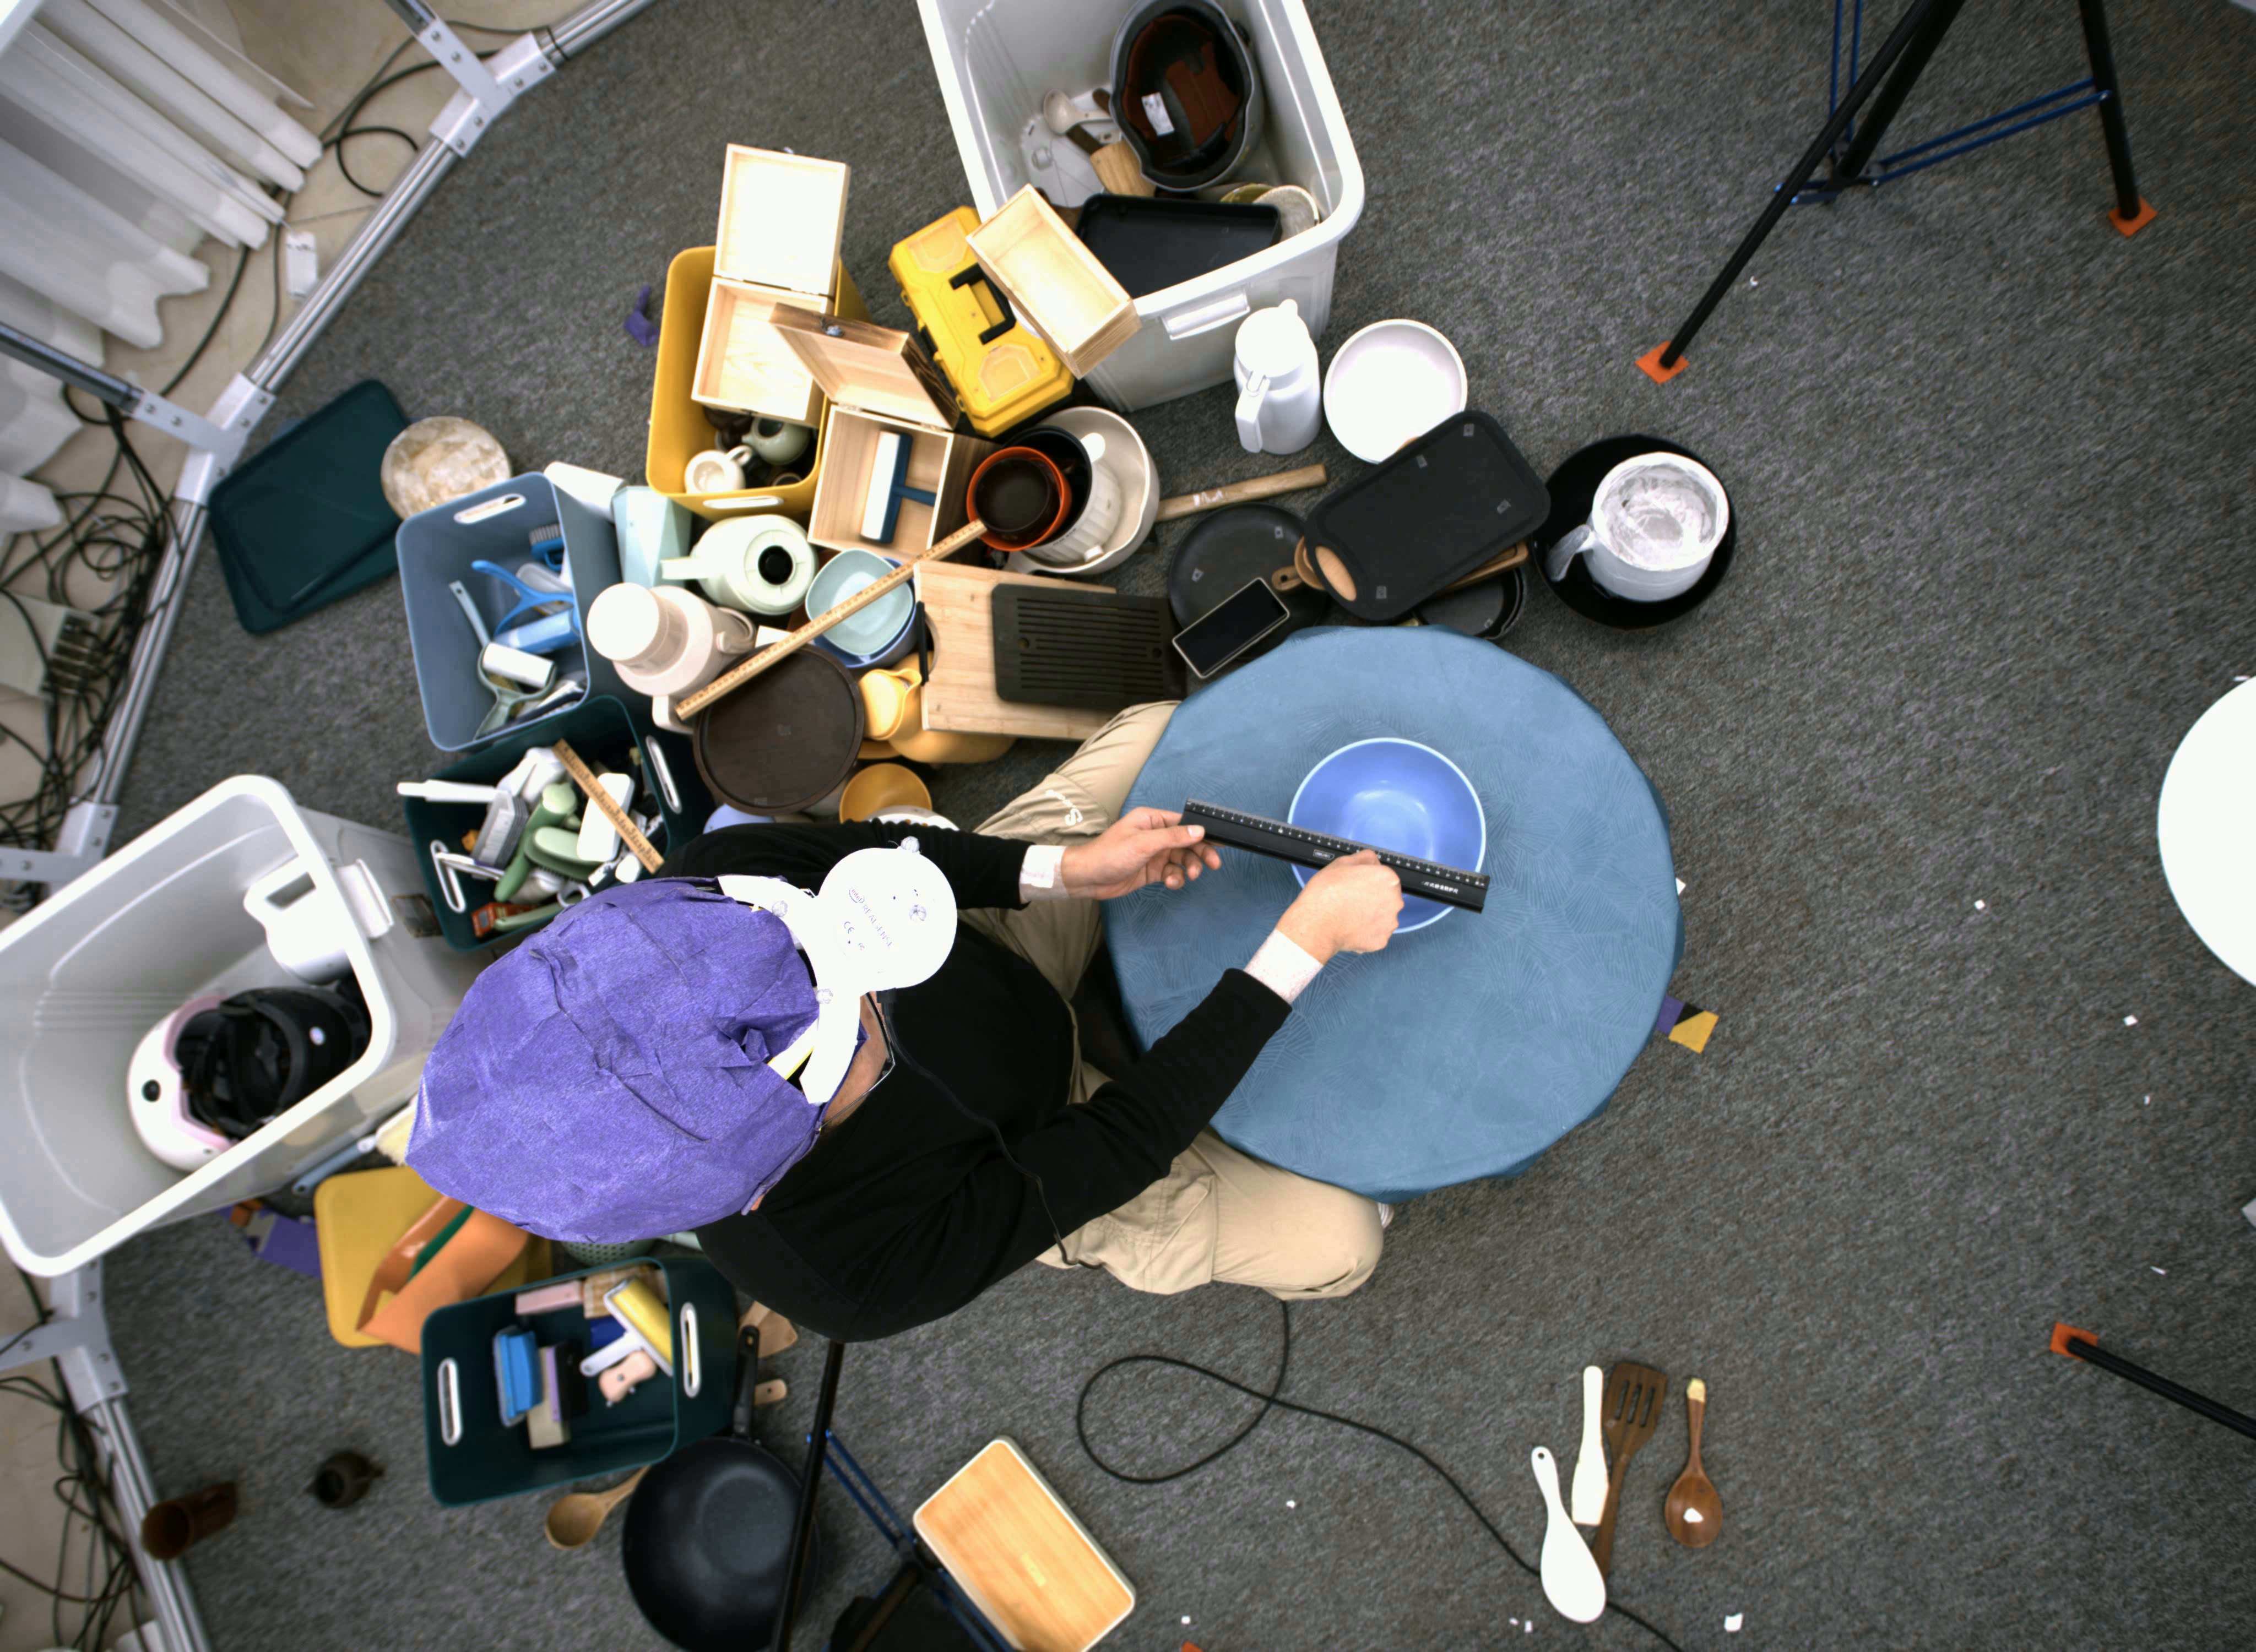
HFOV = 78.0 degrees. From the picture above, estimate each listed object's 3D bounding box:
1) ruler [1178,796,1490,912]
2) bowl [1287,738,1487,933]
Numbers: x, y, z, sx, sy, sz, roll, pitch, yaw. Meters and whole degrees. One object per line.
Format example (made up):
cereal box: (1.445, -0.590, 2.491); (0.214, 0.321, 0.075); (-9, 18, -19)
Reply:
ruler: (0.203, 0.025, 1.372); (0.313, 0.017, 0.039); (15, 83, 11)
bowl: (0.264, 0.013, 1.416); (0.197, 0.095, 0.195); (-1, 86, 10)
